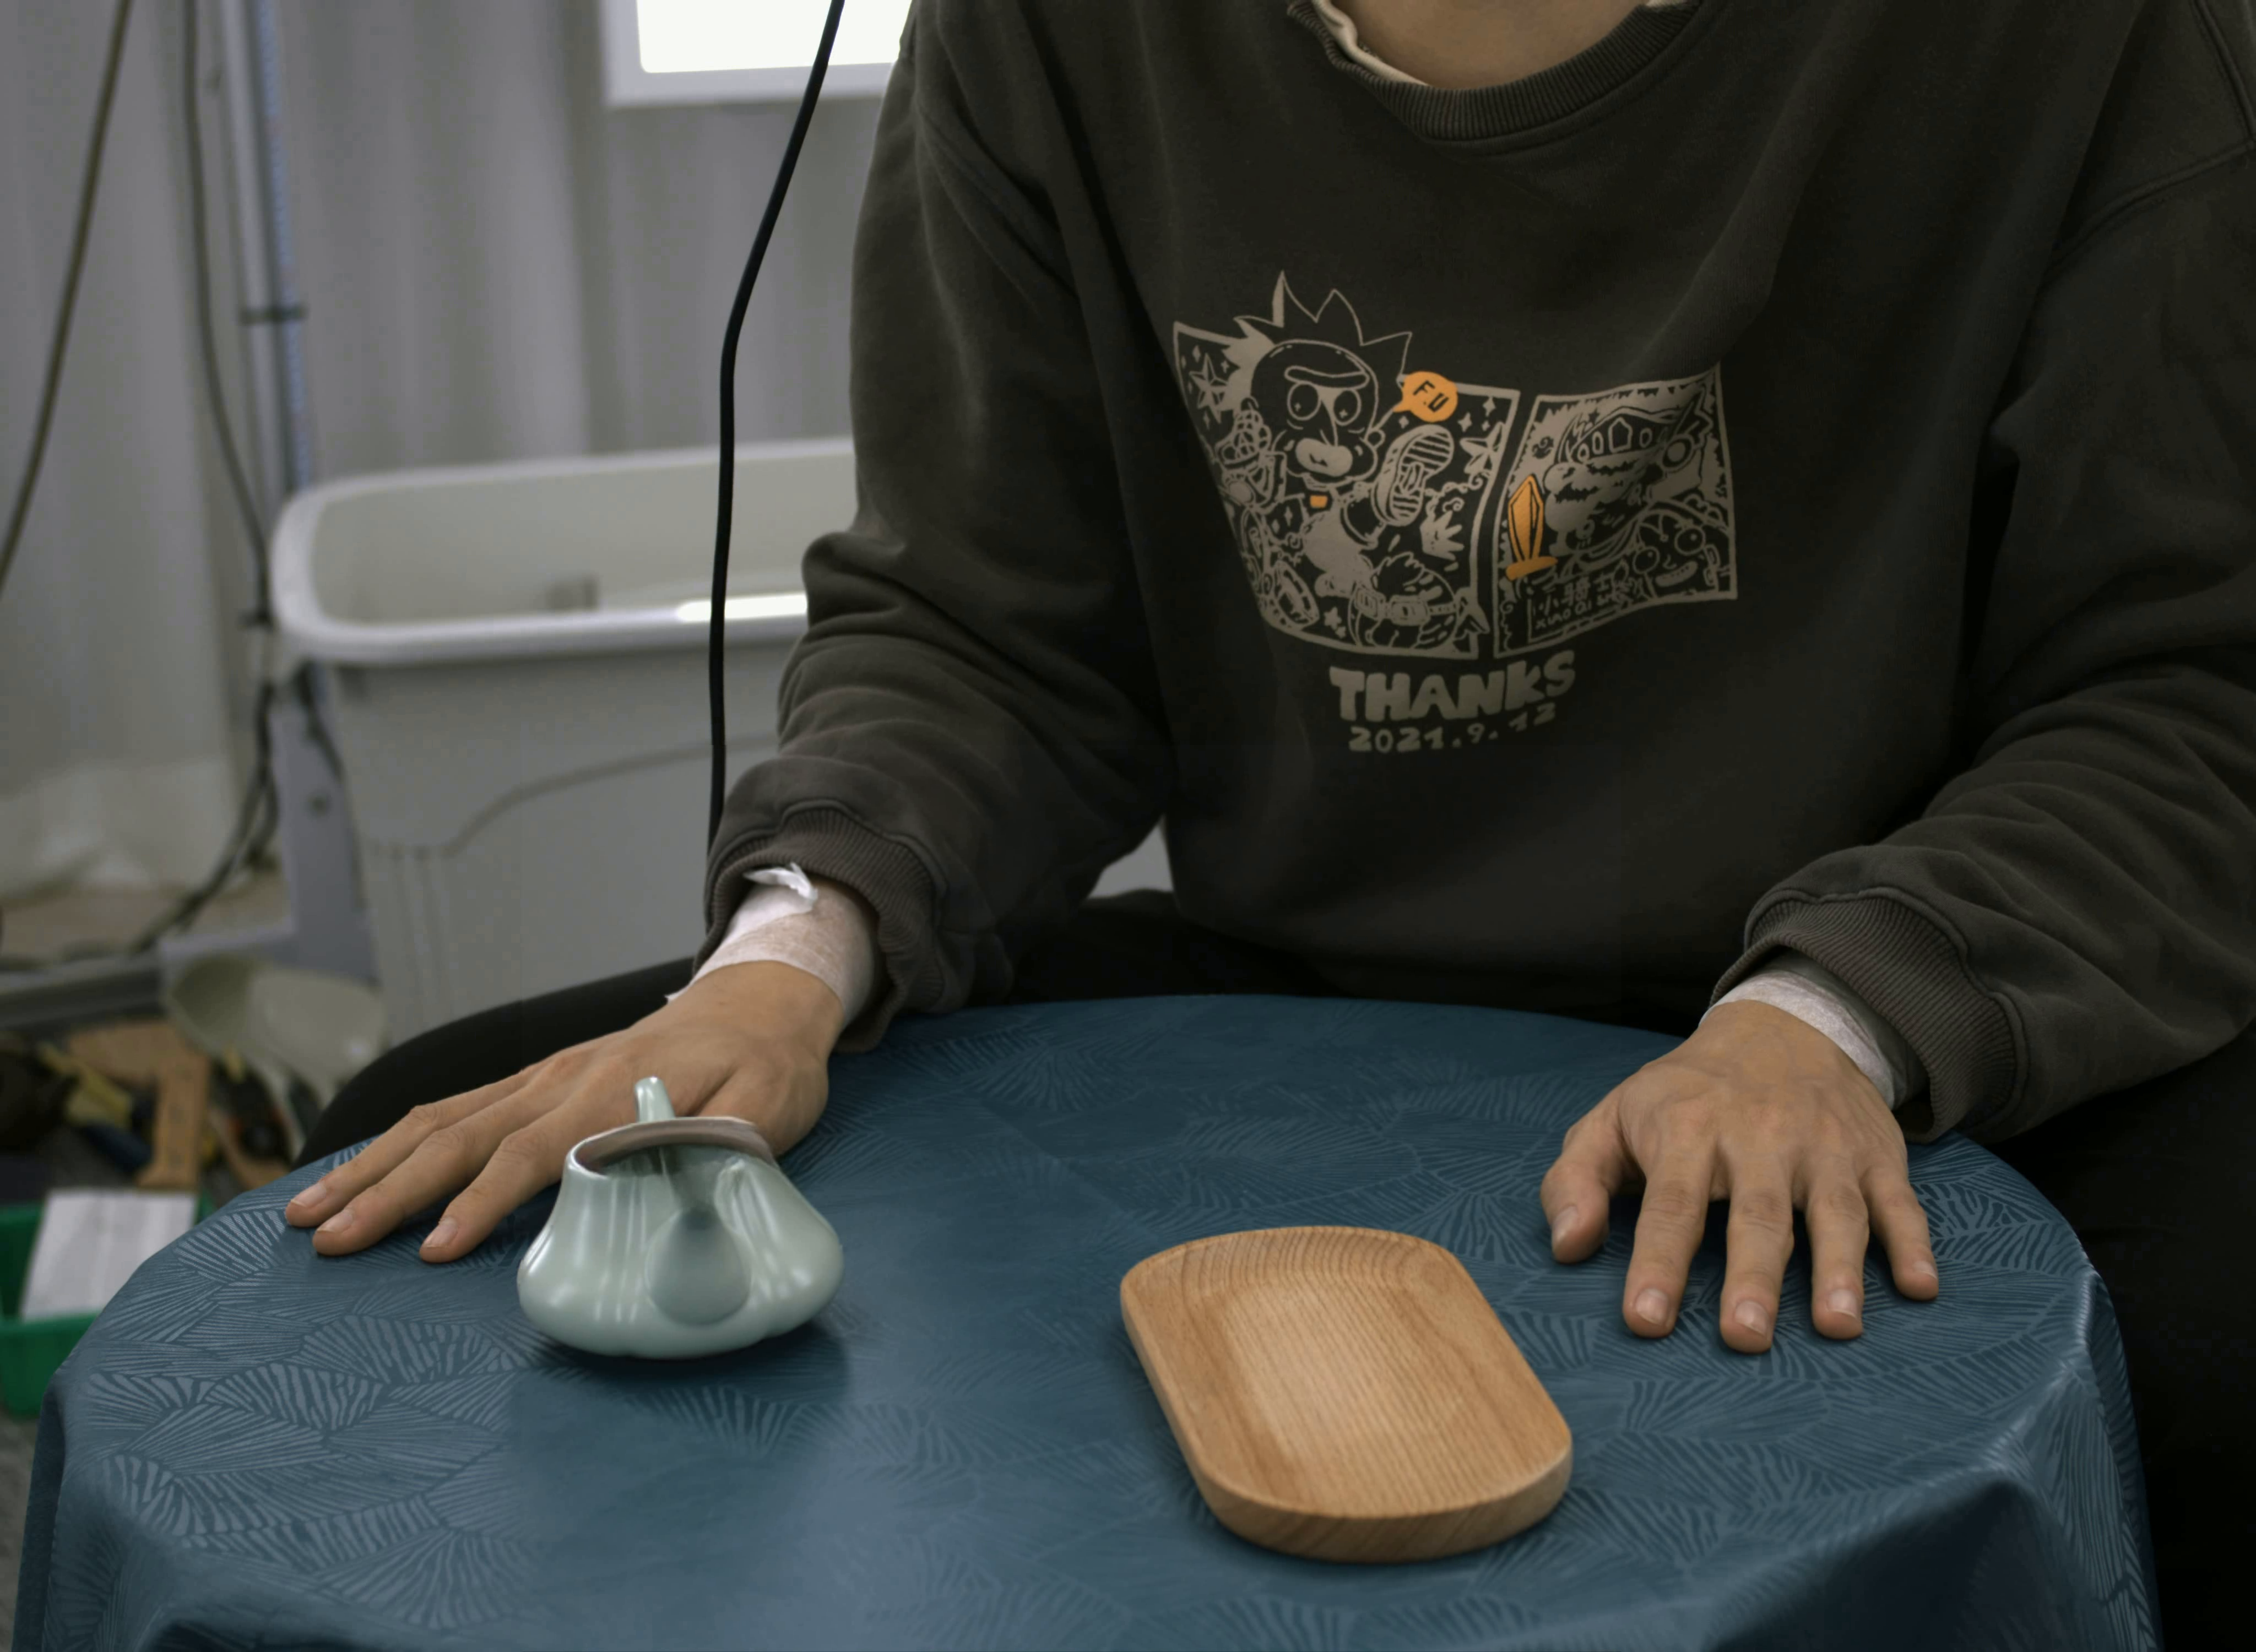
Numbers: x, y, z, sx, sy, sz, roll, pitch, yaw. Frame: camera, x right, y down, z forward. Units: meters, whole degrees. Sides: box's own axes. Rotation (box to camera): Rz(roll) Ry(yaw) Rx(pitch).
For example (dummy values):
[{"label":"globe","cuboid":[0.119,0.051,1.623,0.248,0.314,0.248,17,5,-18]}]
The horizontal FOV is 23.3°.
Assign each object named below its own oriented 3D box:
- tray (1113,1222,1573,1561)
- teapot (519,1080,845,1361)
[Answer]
[{"label":"tray","cuboid":[0.058,0.155,1.527,0.101,0.020,0.233,-5,14,-9]},{"label":"teapot","cuboid":[-0.134,0.119,1.617,0.096,0.061,0.138,-8,16,-13]}]
